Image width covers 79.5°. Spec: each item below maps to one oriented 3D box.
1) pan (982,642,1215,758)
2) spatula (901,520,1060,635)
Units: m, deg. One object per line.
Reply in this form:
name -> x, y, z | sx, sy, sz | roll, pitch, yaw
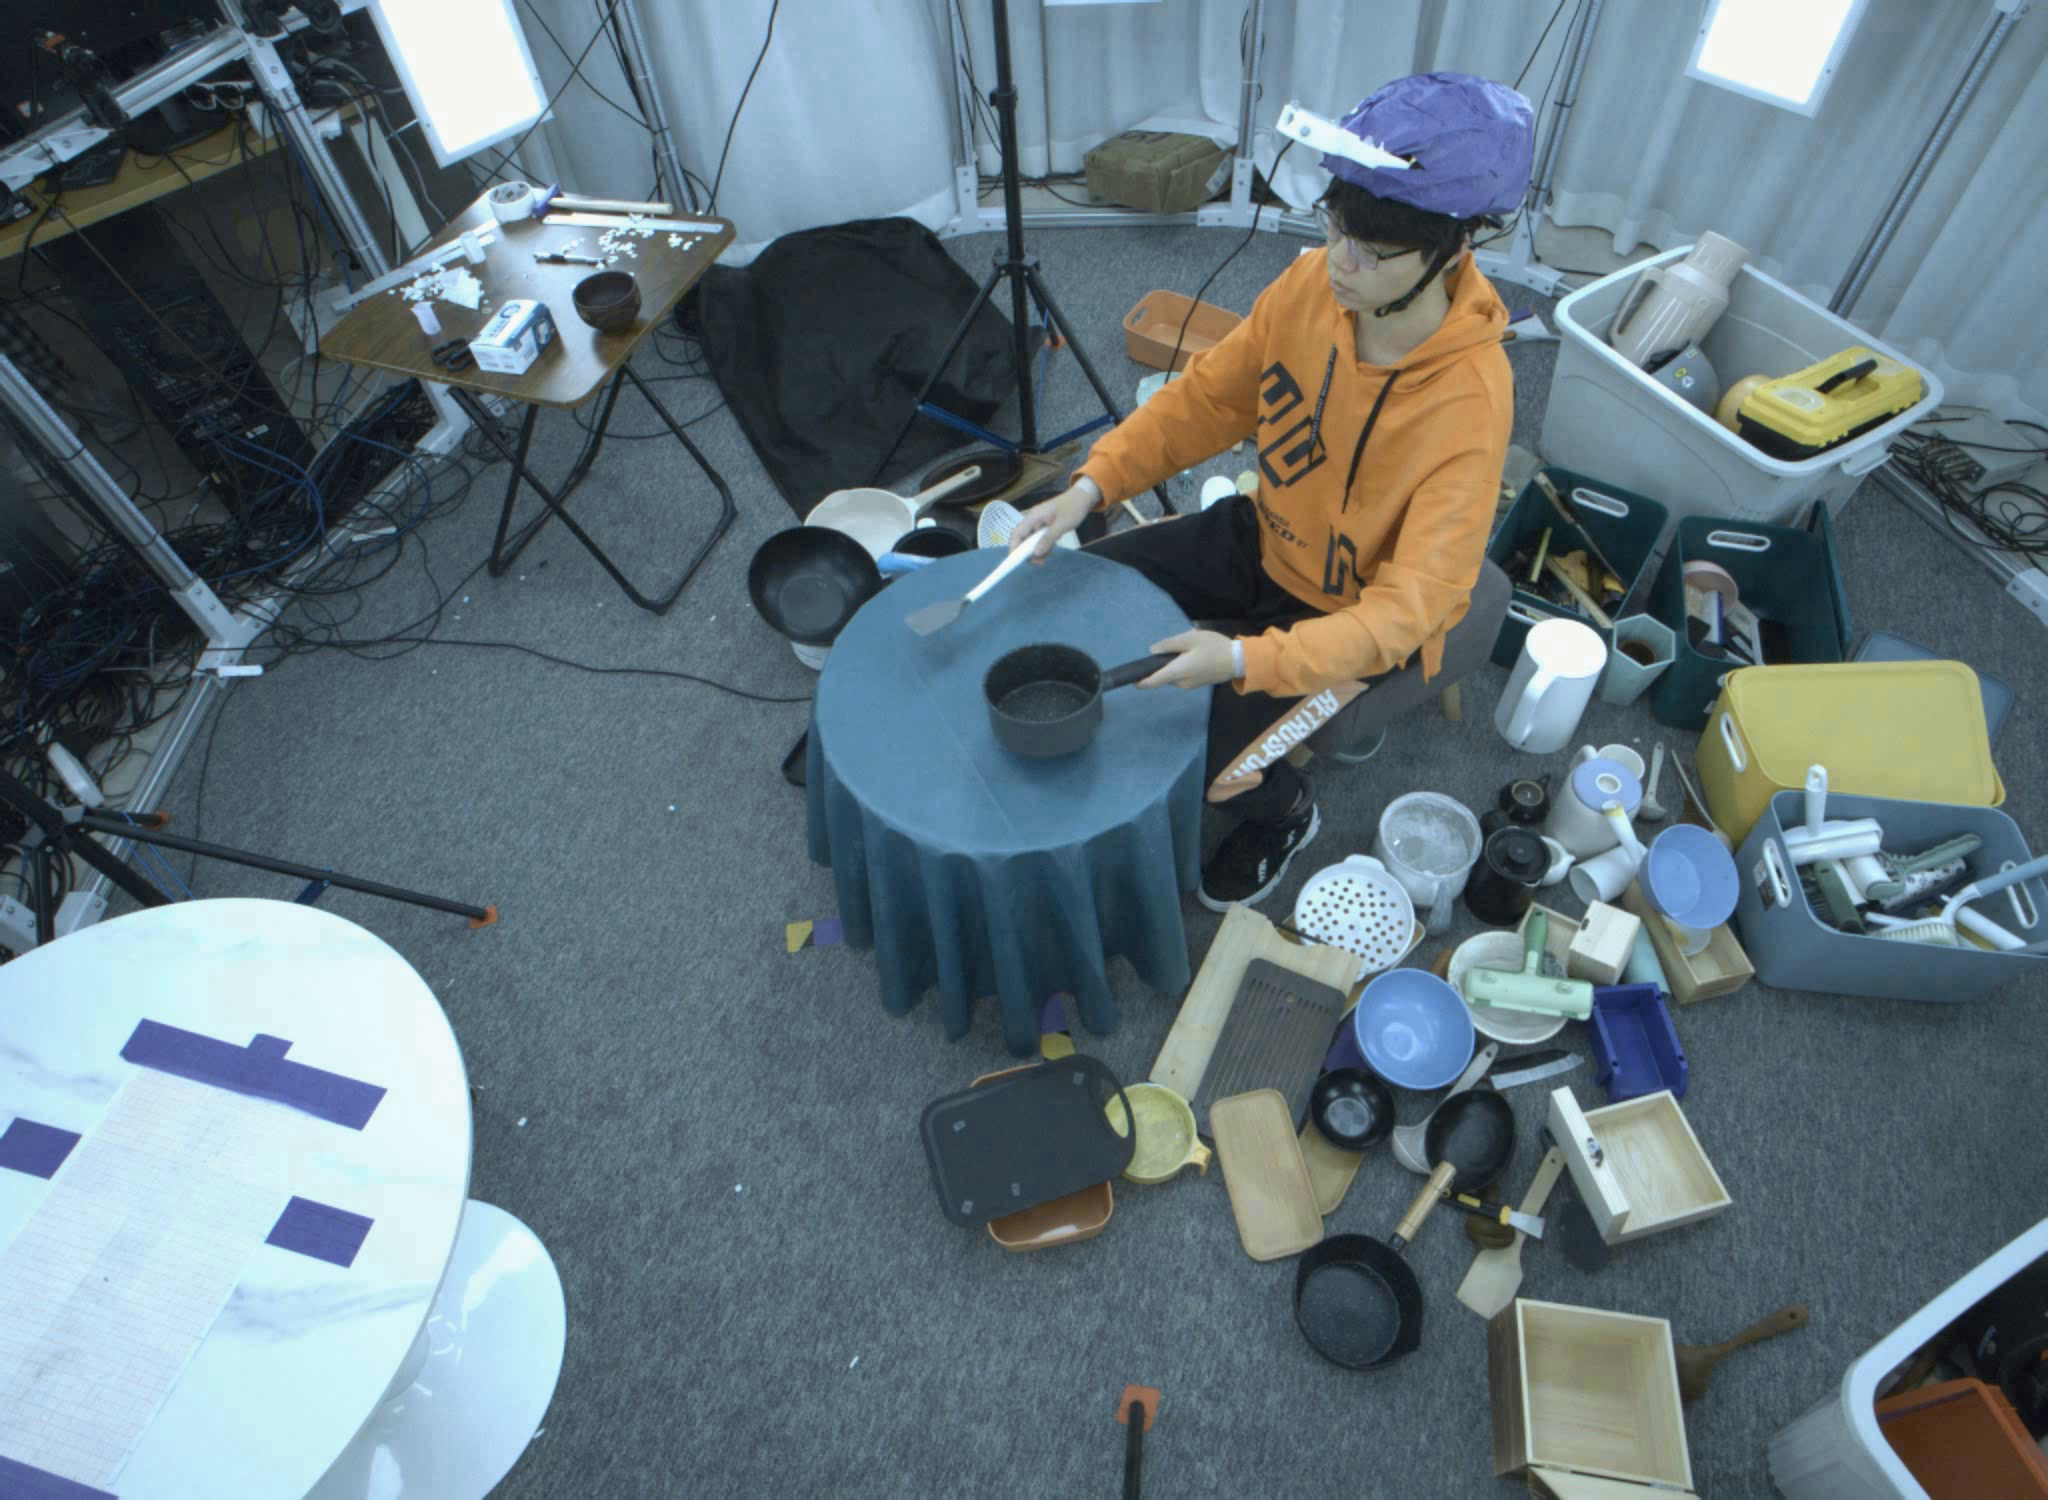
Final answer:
pan -> 0.108, -0.086, 1.745 | 0.329, 0.087, 0.169 | -11, 46, -3
spatula -> -0.062, -0.263, 1.882 | 0.289, 0.032, 0.058 | -38, 65, -17
